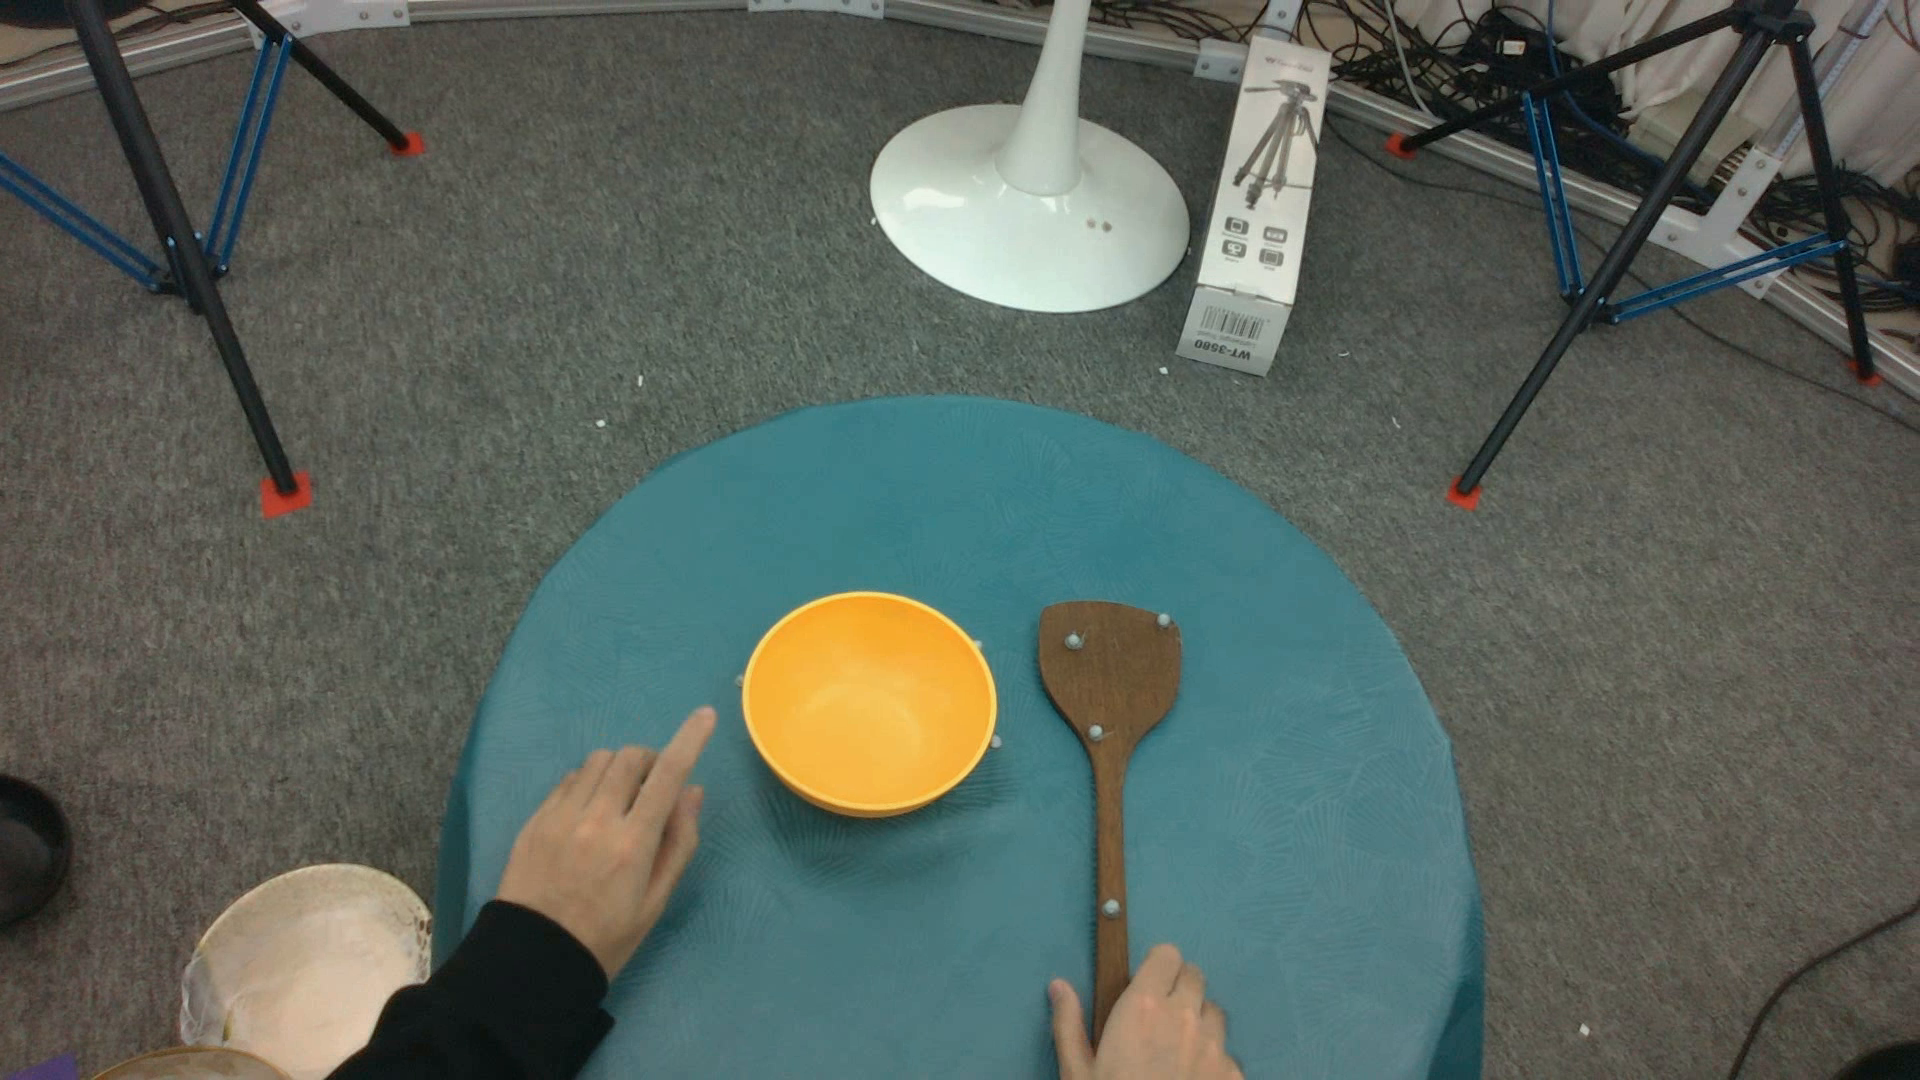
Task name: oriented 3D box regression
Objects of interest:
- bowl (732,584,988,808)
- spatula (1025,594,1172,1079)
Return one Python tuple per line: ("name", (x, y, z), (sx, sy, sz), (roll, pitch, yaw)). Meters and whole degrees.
("bowl", (-0.059, 0.100, 0.801), (0.145, 0.060, 0.146), (4, 51, -5))
("spatula", (0.081, 0.188, 0.784), (0.096, 0.015, 0.388), (8, 51, -5))
